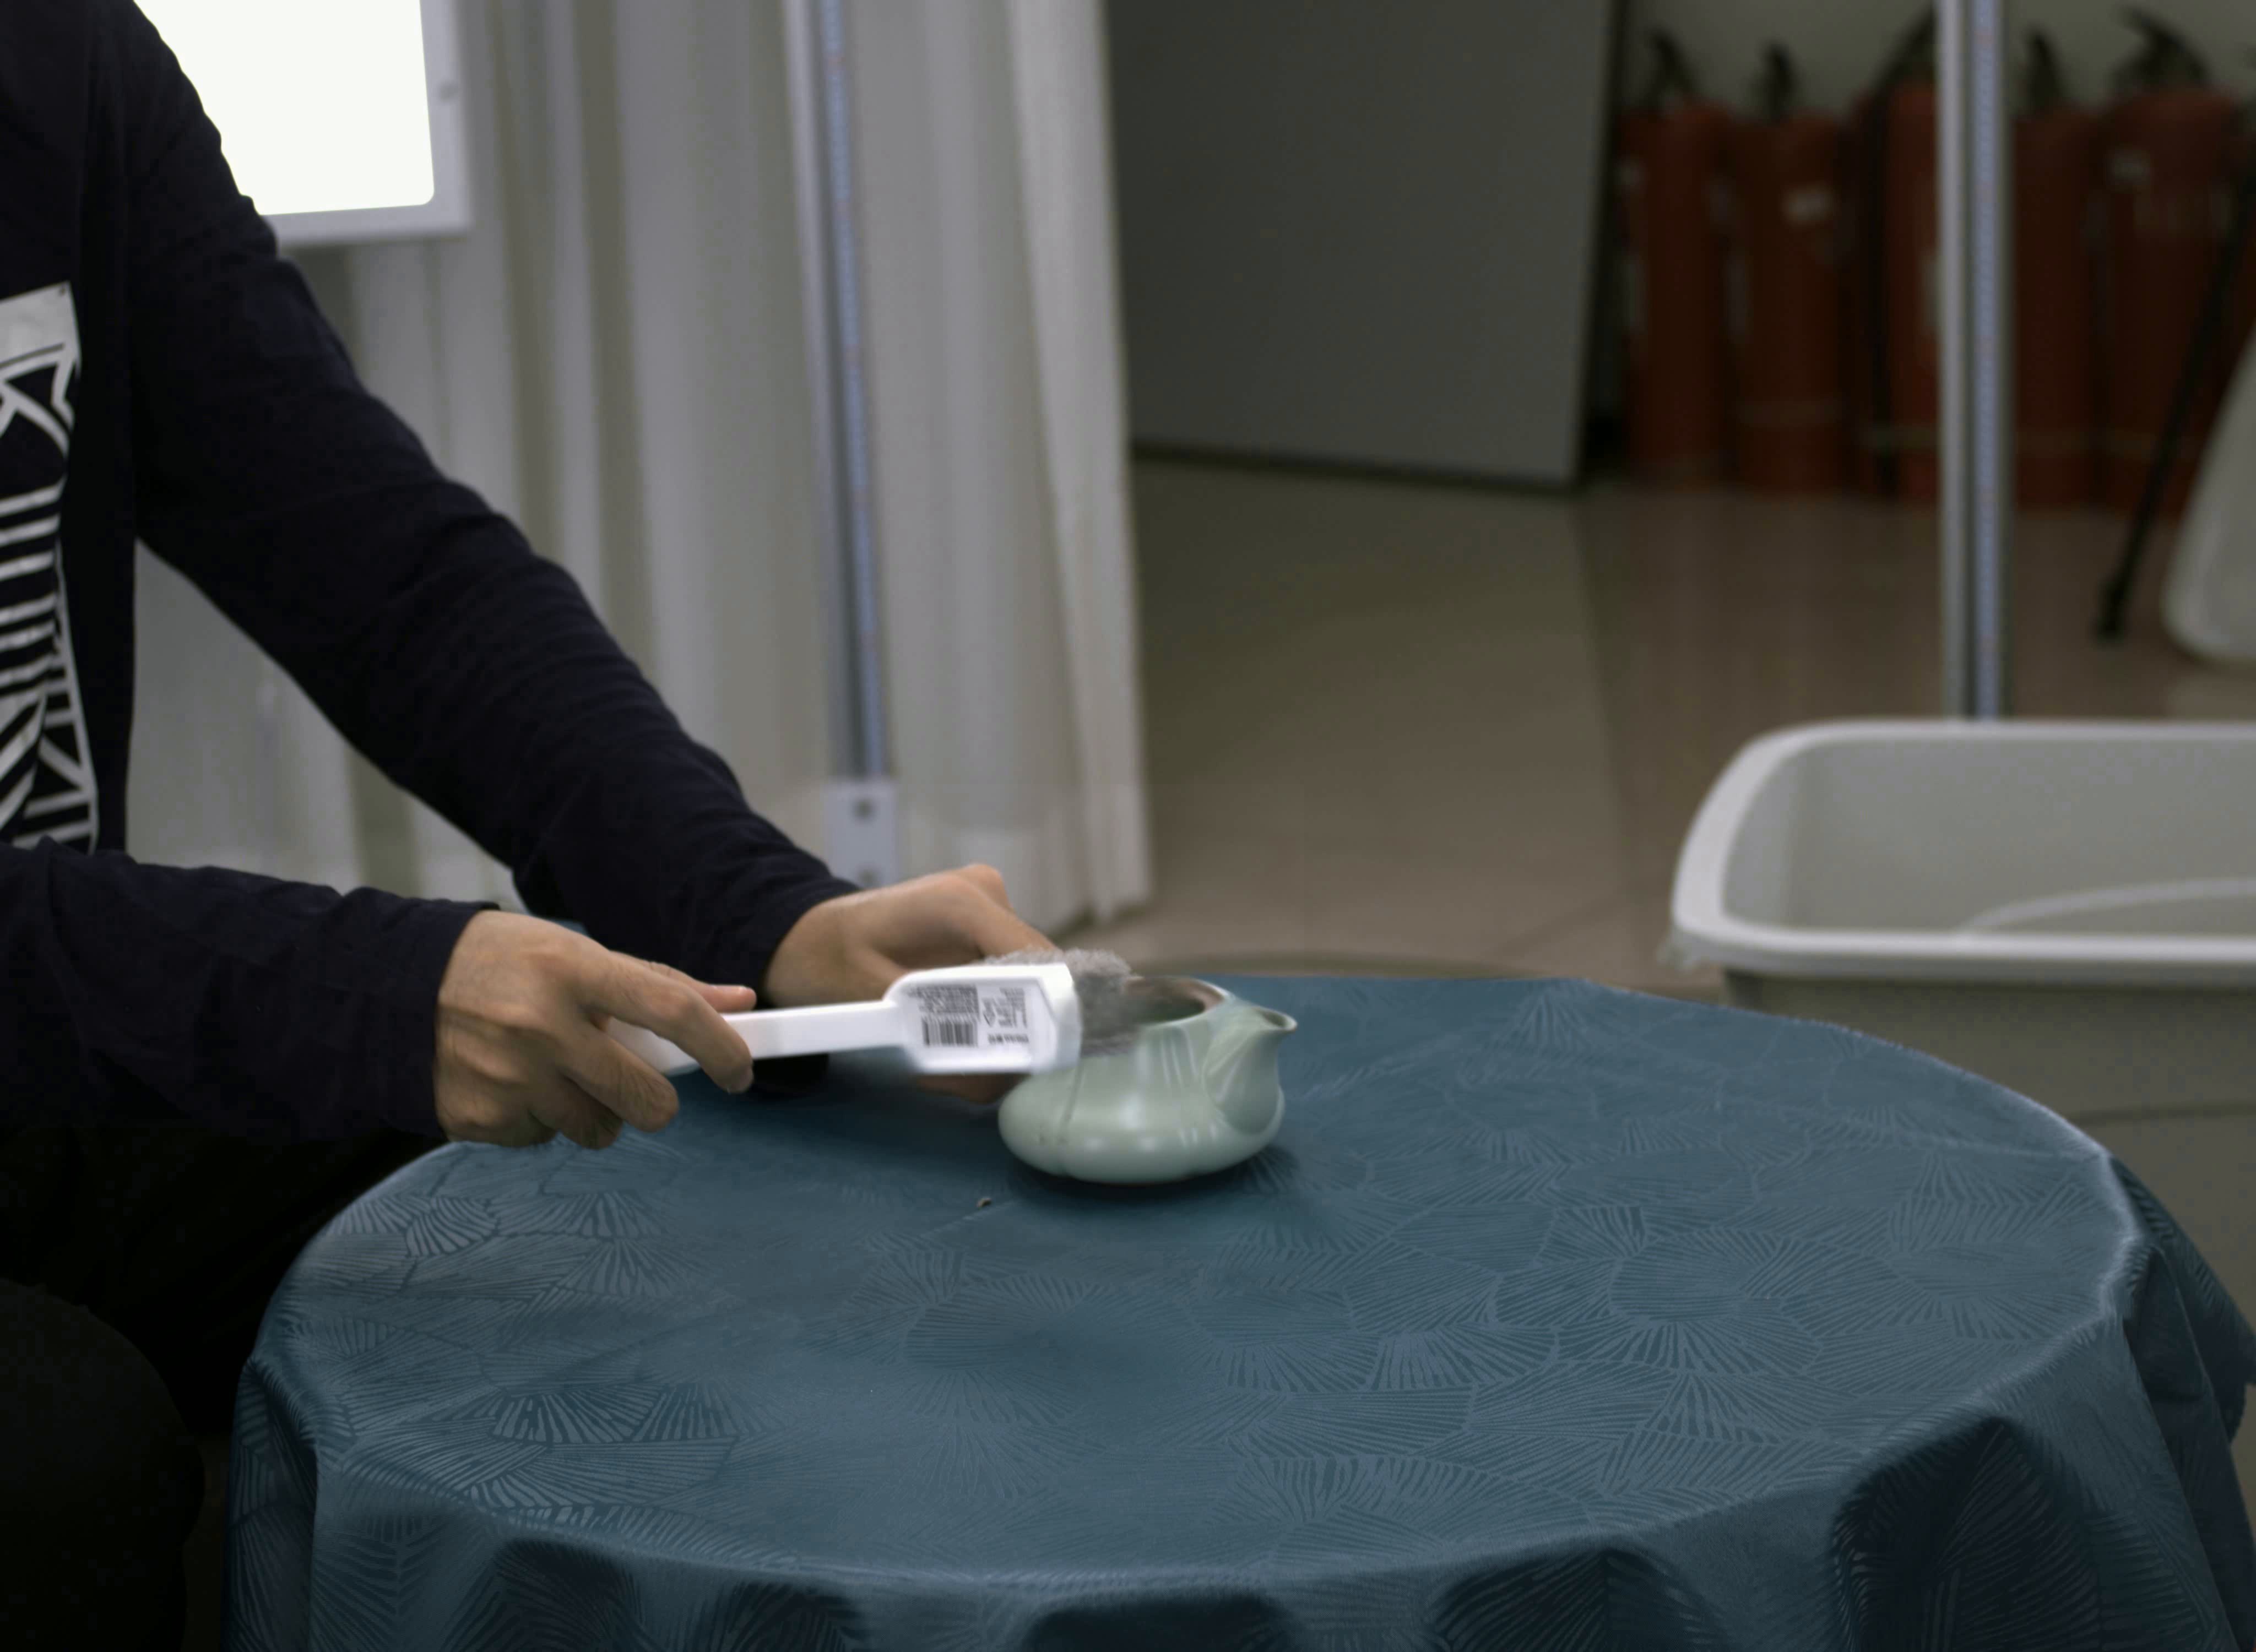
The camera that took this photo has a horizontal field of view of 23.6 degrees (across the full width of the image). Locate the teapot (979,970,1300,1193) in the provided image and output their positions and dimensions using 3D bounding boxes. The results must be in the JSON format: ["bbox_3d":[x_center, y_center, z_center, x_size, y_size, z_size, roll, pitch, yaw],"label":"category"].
[{"bbox_3d":[0.000,0.084,1.798,0.138,0.062,0.094,8,21,35],"label":"teapot"}]

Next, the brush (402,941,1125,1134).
[{"bbox_3d":[-0.114,0.068,1.695,0.244,0.035,0.049,-9,3,24],"label":"brush"}]
